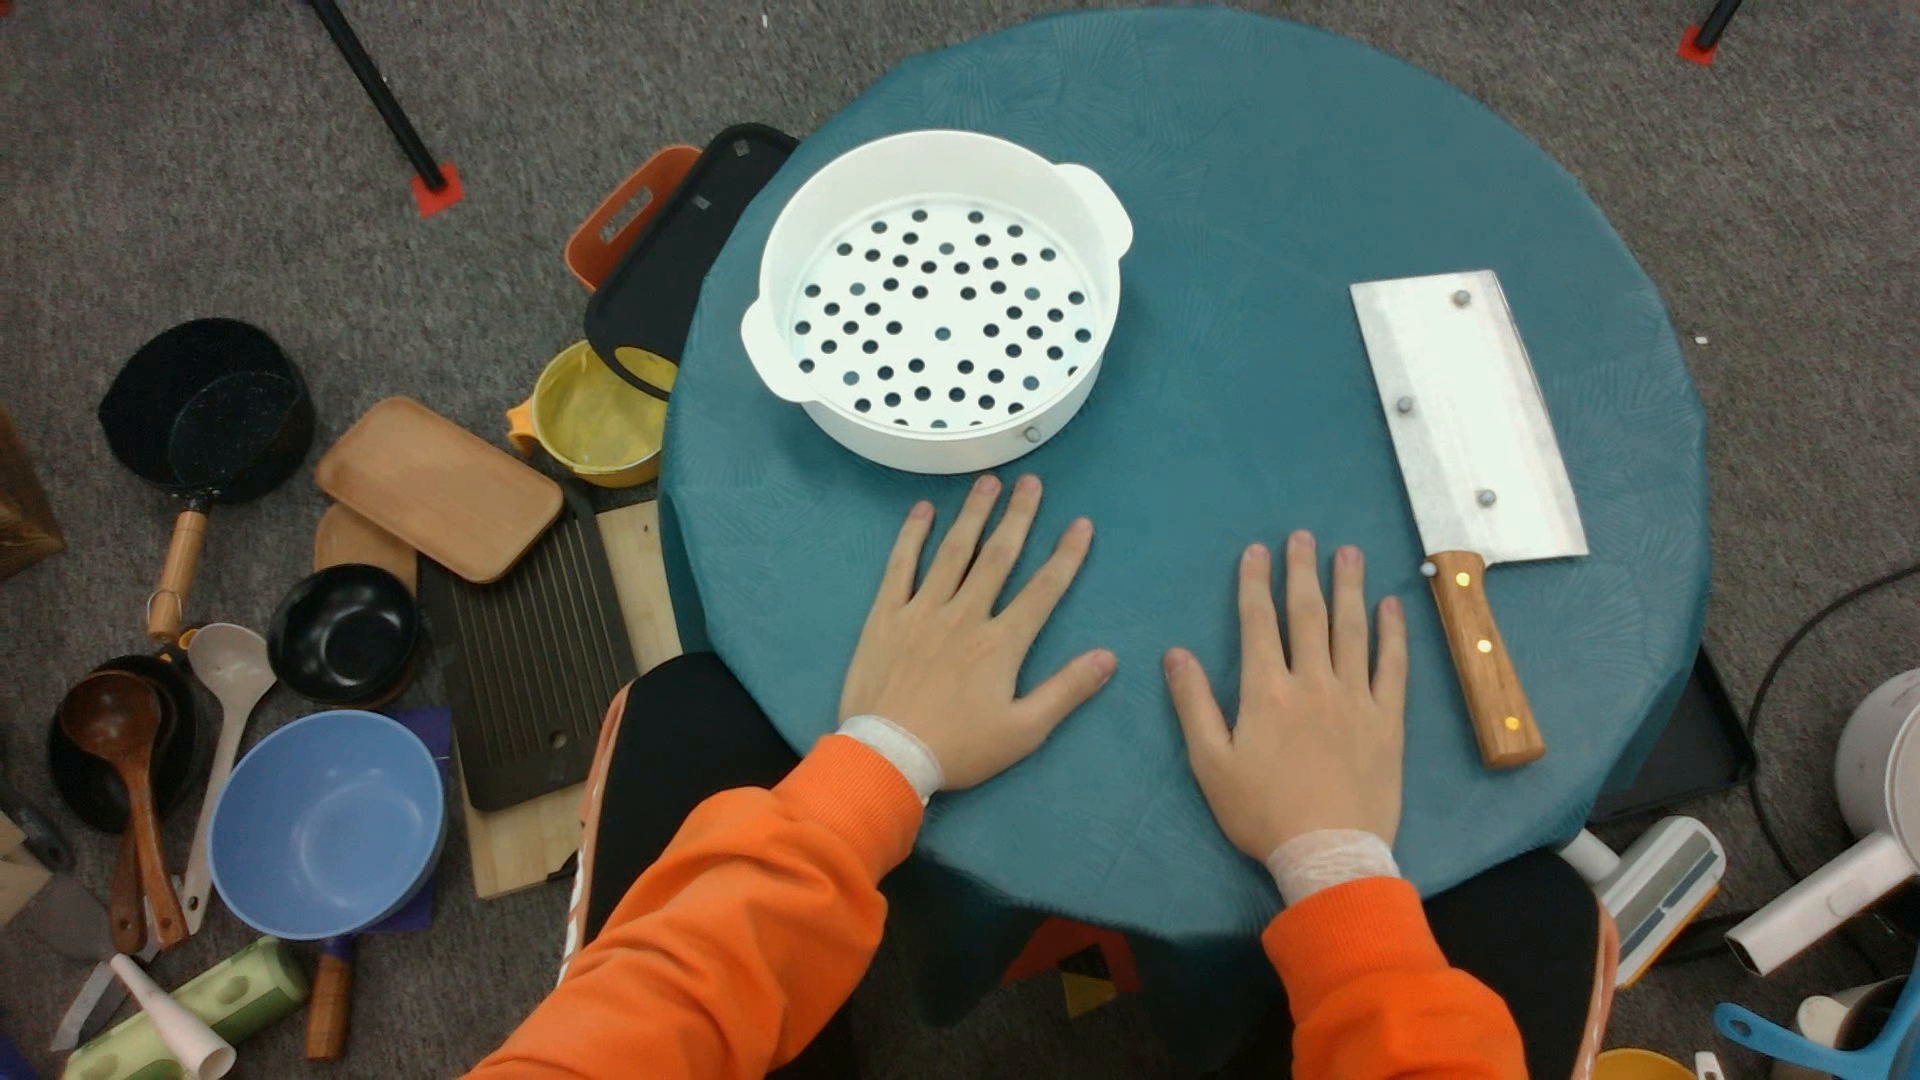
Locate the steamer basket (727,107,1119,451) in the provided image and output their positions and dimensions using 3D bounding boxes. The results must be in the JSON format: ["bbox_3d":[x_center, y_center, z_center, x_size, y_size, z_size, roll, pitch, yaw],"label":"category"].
[{"bbox_3d":[-0.019,-0.149,0.791,0.231,0.069,0.202,-26,71,-13],"label":"steamer basket"}]

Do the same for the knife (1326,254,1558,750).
[{"bbox_3d":[0.283,-0.034,0.776,0.093,0.021,0.306,-6,66,-5],"label":"knife"}]
